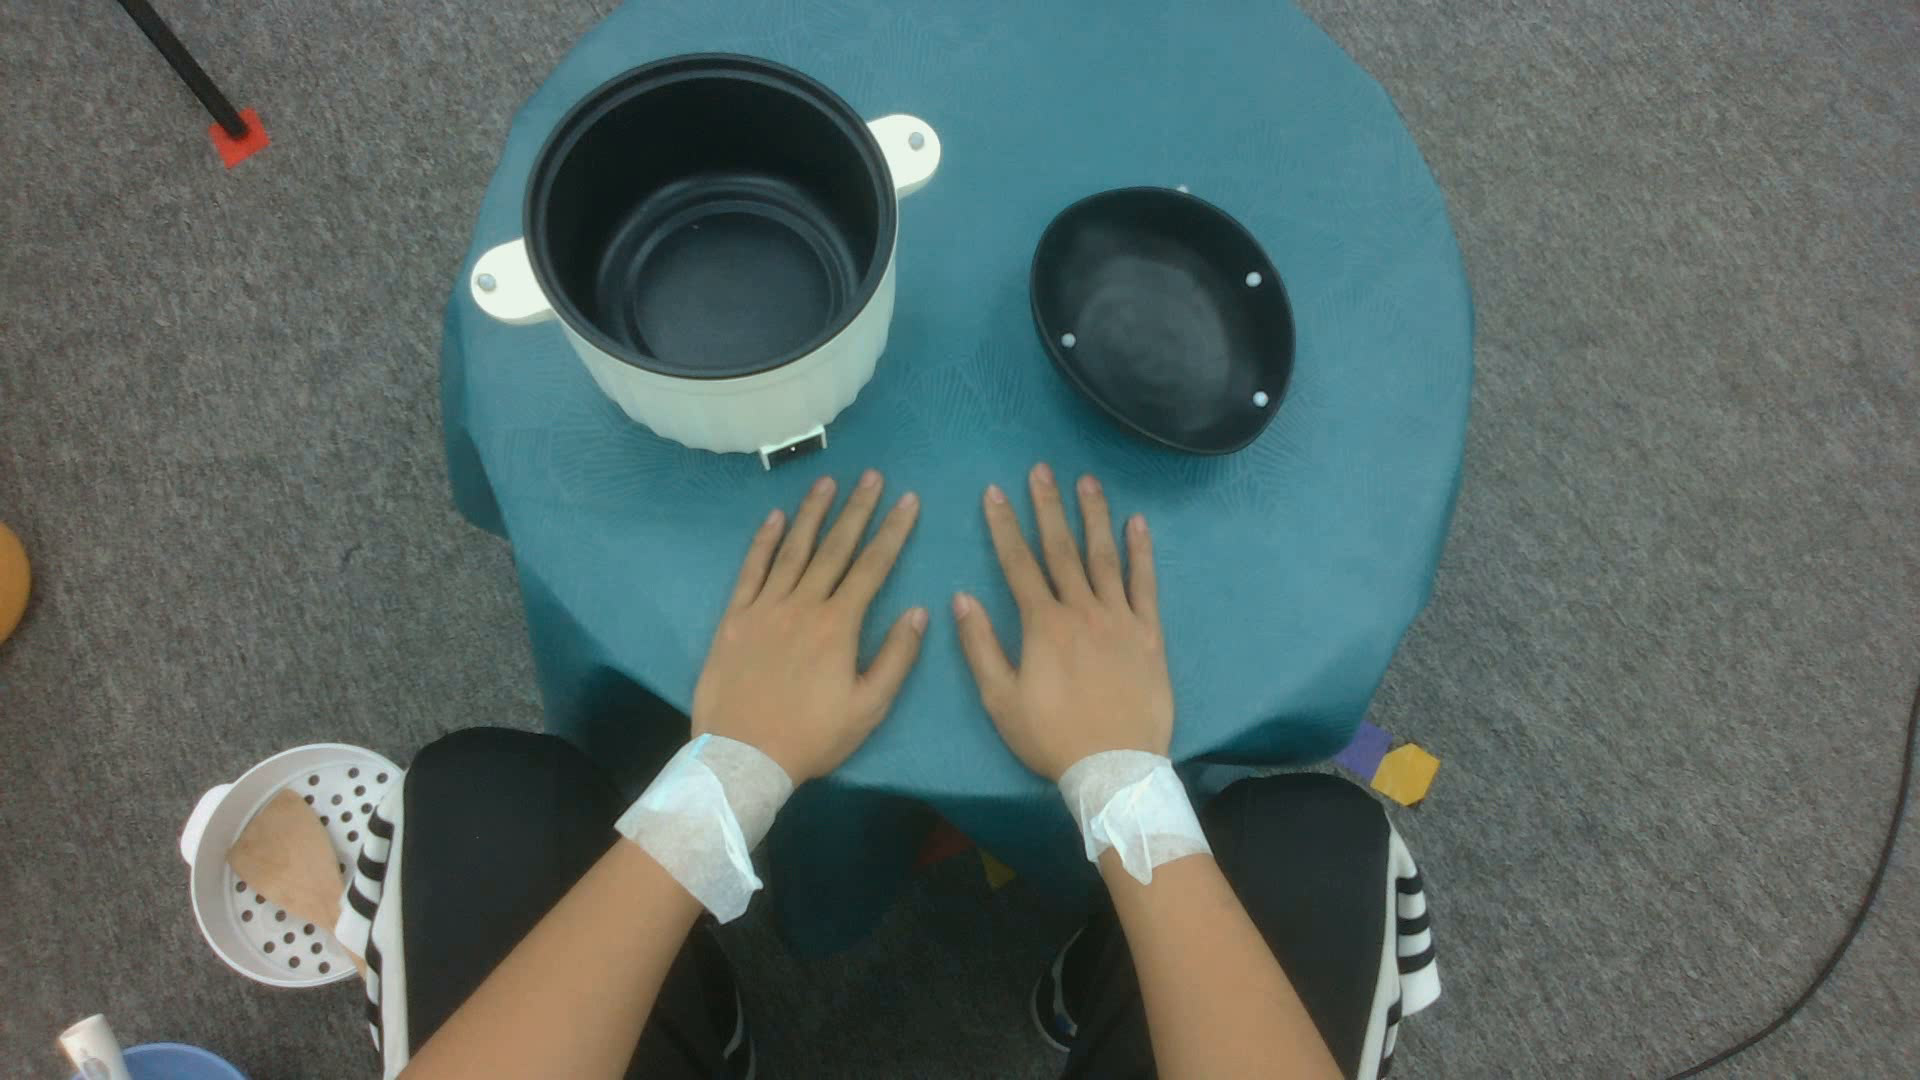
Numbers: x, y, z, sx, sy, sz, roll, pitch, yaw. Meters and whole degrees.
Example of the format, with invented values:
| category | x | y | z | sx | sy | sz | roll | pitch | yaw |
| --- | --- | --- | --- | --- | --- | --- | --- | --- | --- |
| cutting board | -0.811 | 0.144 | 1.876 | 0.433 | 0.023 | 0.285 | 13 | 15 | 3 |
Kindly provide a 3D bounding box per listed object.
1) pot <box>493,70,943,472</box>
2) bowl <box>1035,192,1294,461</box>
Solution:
| category | x | y | z | sx | sy | sz | roll | pitch | yaw |
| --- | --- | --- | --- | --- | --- | --- | --- | --- | --- |
| pot | -0.125 | -0.144 | 0.755 | 0.241 | 0.142 | 0.191 | -23 | 77 | -10 |
| bowl | 0.116 | -0.117 | 0.796 | 0.137 | 0.066 | 0.170 | -33 | 76 | -11 |
